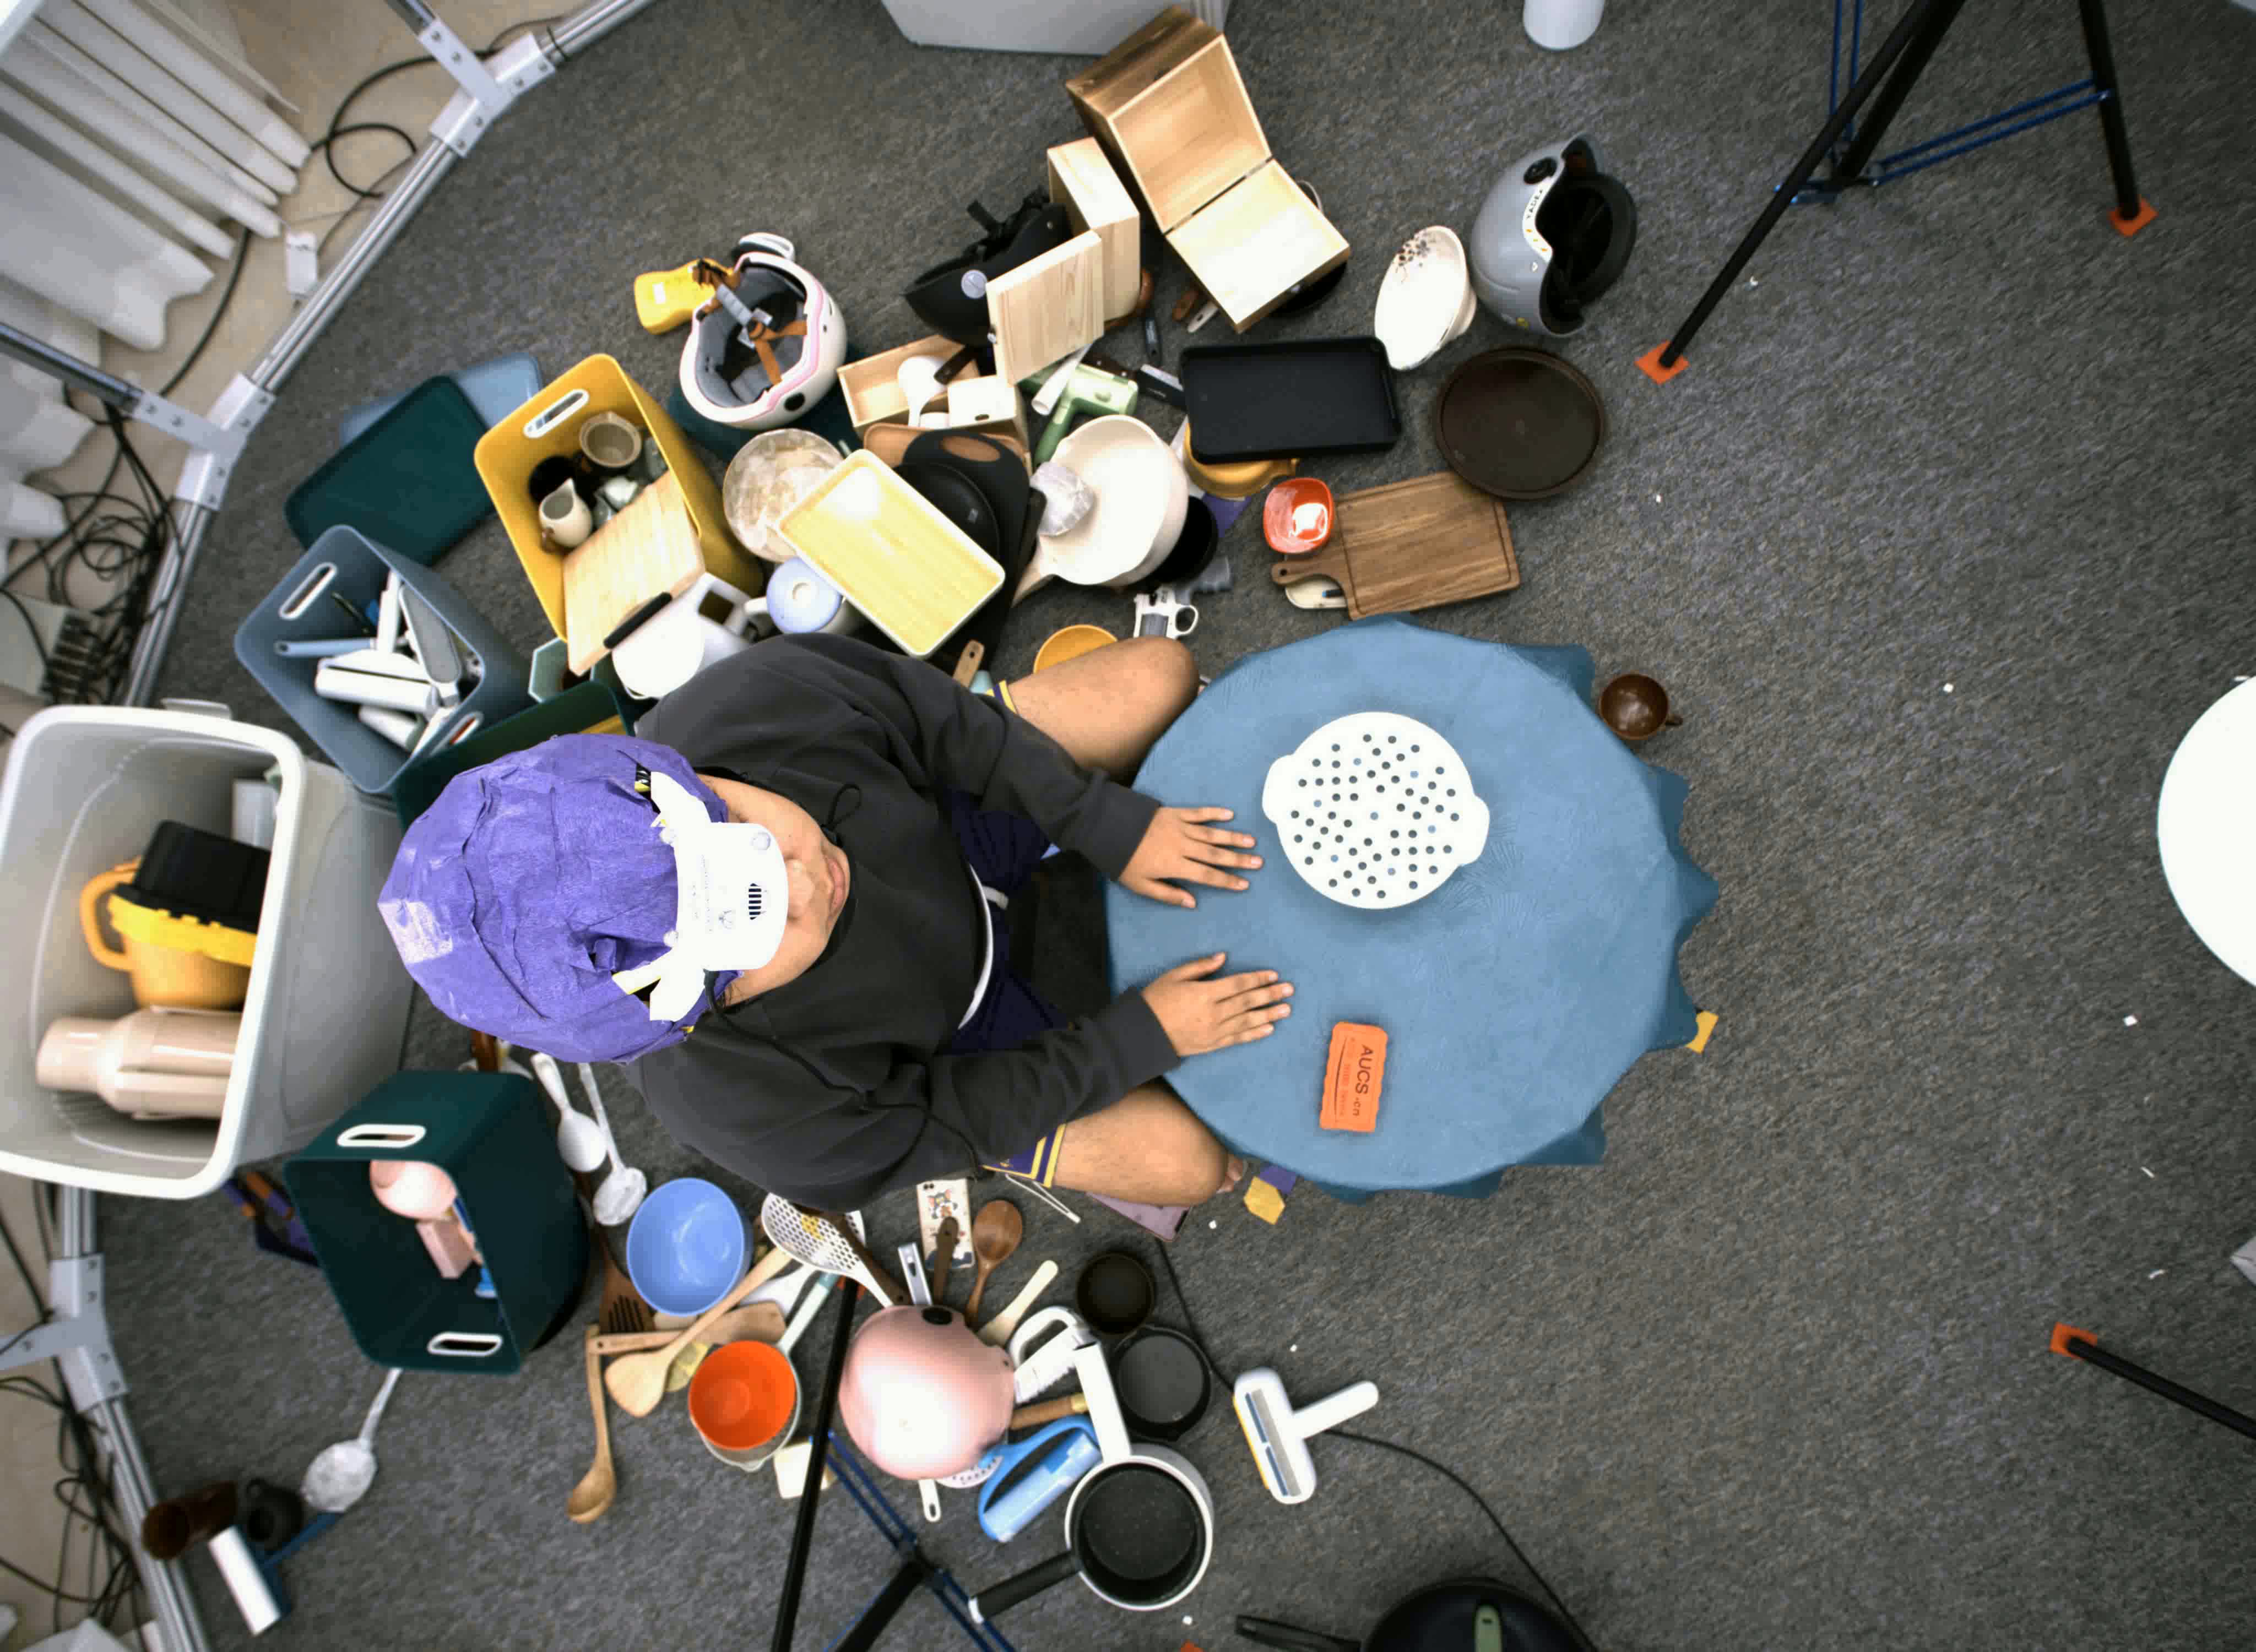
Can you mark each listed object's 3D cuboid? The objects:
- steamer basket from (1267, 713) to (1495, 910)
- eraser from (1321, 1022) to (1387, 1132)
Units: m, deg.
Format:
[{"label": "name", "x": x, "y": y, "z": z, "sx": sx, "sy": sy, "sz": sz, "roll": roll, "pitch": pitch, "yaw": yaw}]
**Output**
[{"label": "steamer basket", "x": 0.261, "y": -0.014, "z": 1.433, "sx": 0.231, "sy": 0.069, "sz": 0.201, "roll": 13, "pitch": 89, "yaw": 10}, {"label": "eraser", "x": 0.235, "y": 0.259, "z": 1.440, "sx": 0.059, "sy": 0.023, "sz": 0.108, "roll": 7, "pitch": 89, "yaw": 16}]
